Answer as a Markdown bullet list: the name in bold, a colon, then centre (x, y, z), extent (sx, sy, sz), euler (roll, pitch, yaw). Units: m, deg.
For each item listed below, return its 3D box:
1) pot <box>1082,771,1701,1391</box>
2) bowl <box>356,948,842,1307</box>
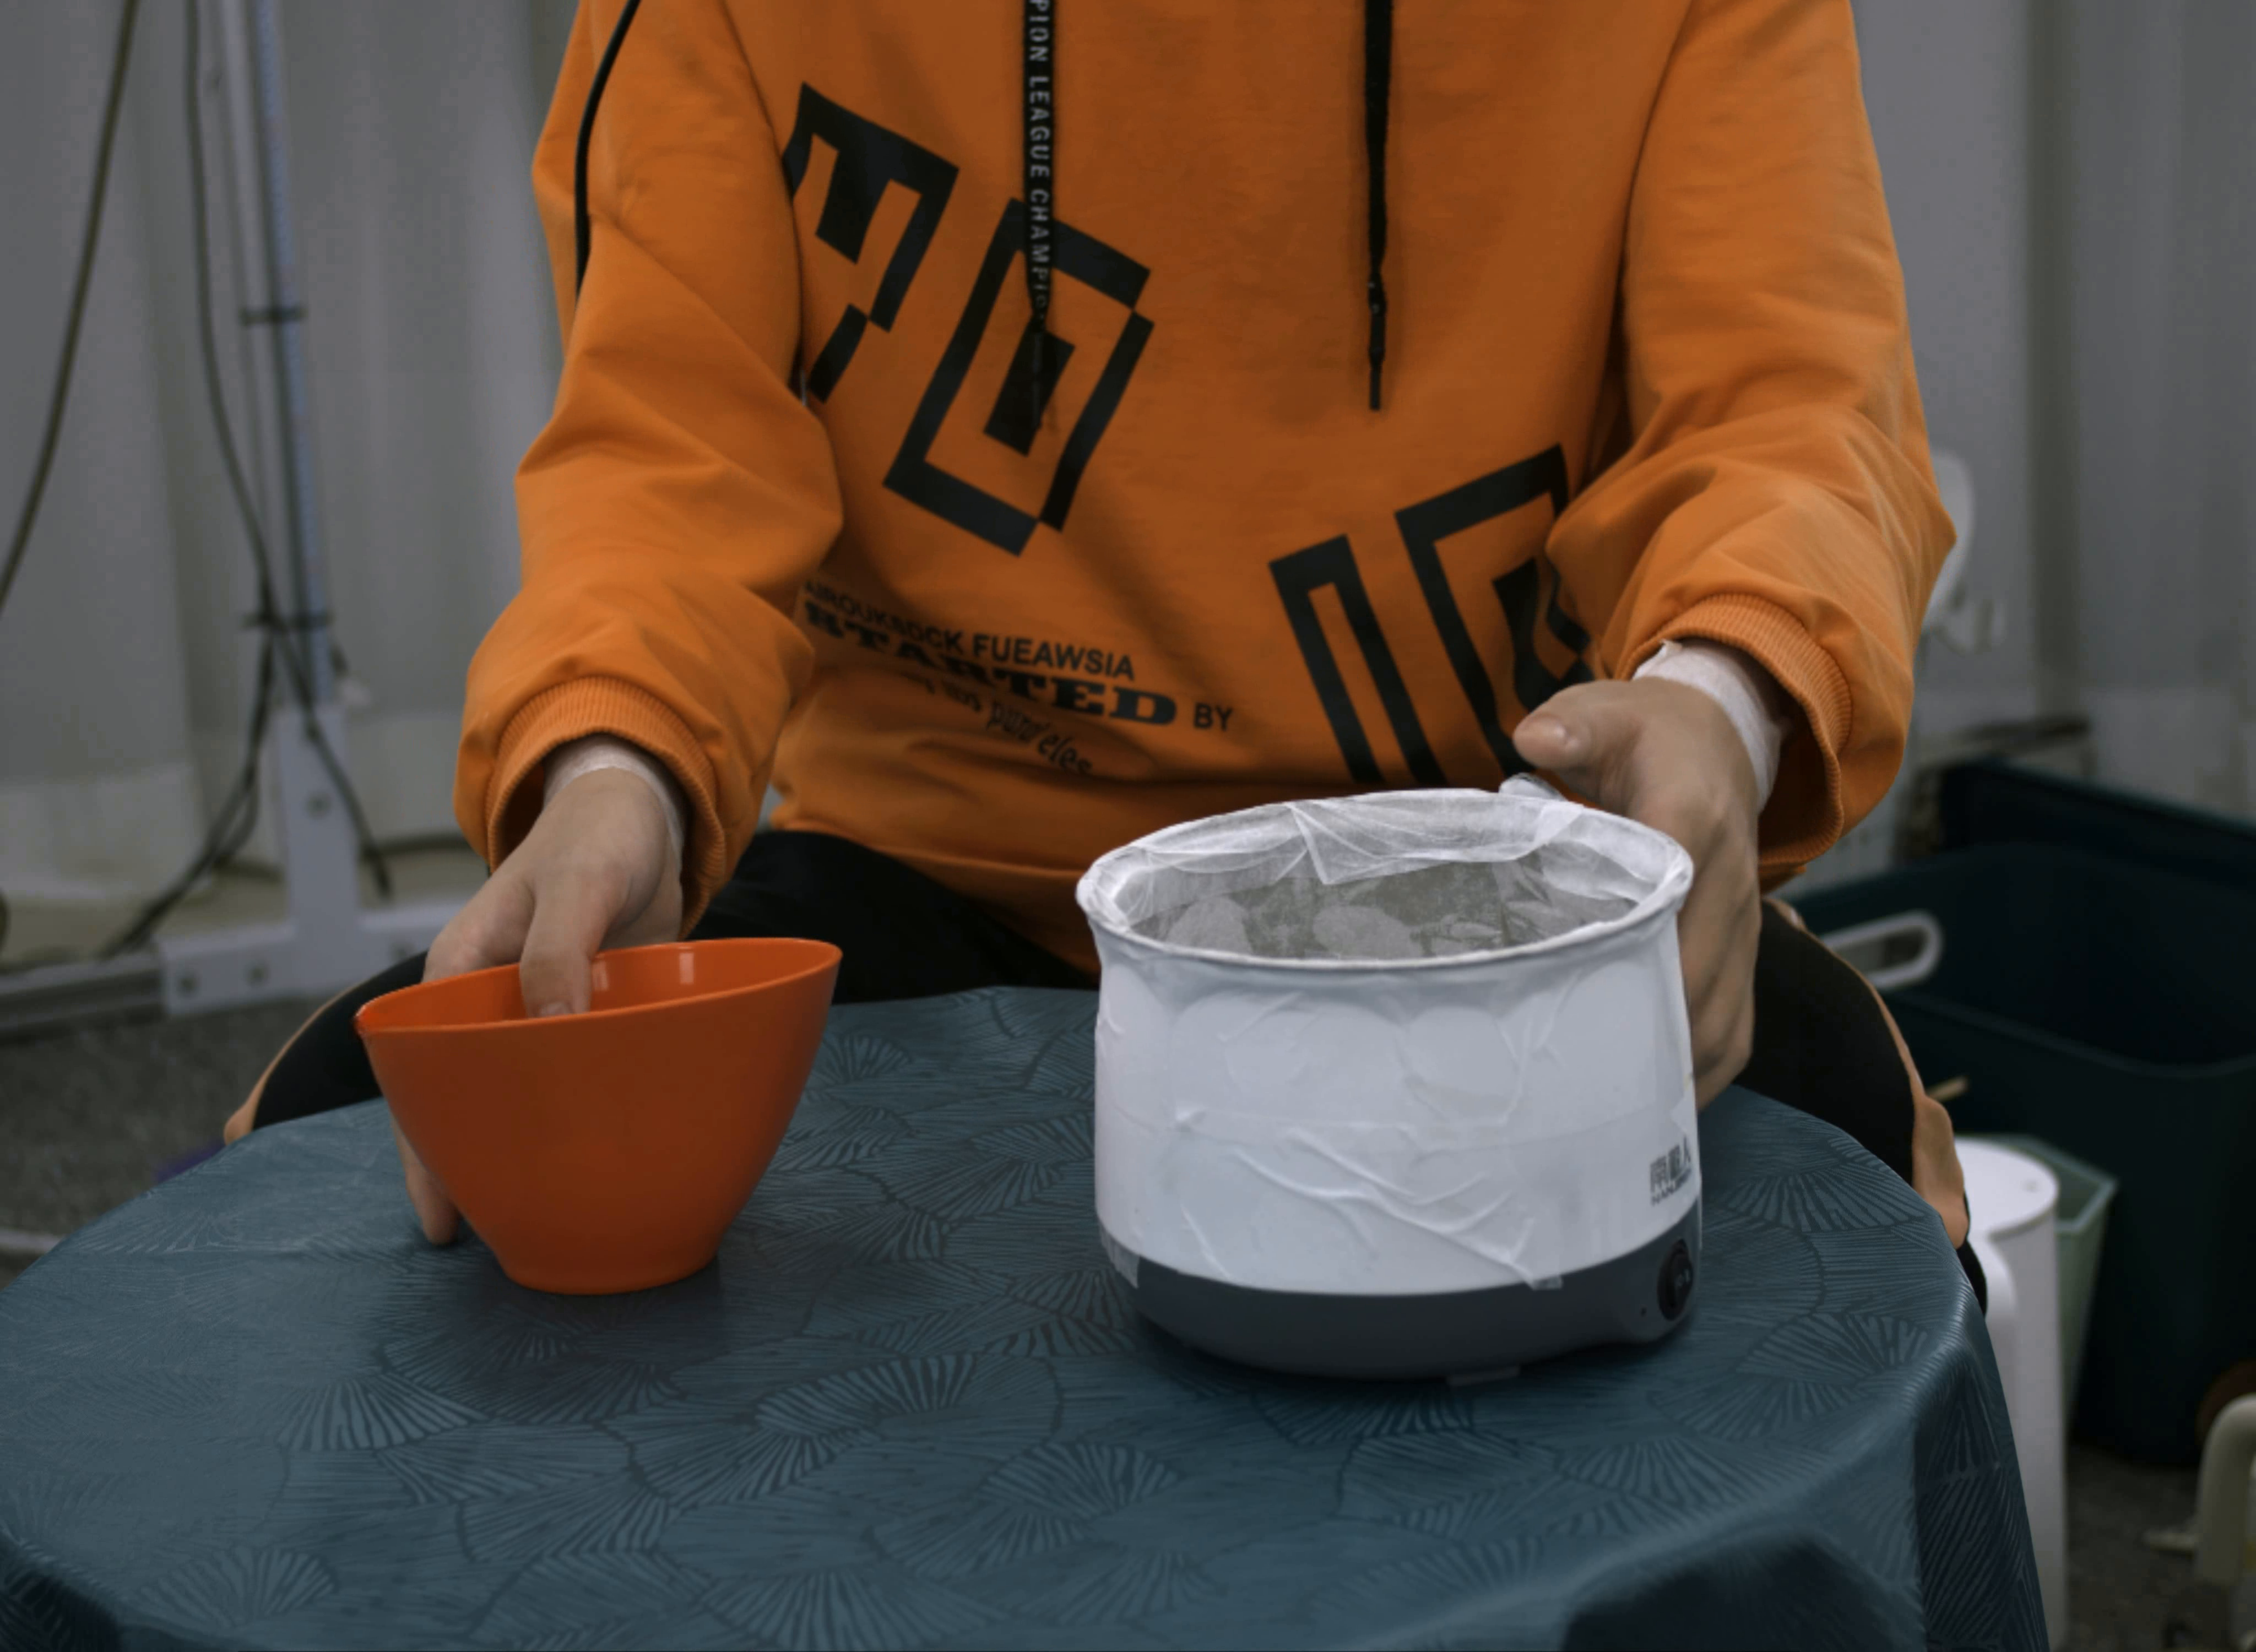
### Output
- **pot**: centre (0.089, 0.068, 1.608), extent (0.179, 0.136, 0.234), euler (5, 17, 26)
- **bowl**: centre (-0.157, 0.089, 1.657), extent (0.147, 0.104, 0.149), euler (-3, 14, 1)
